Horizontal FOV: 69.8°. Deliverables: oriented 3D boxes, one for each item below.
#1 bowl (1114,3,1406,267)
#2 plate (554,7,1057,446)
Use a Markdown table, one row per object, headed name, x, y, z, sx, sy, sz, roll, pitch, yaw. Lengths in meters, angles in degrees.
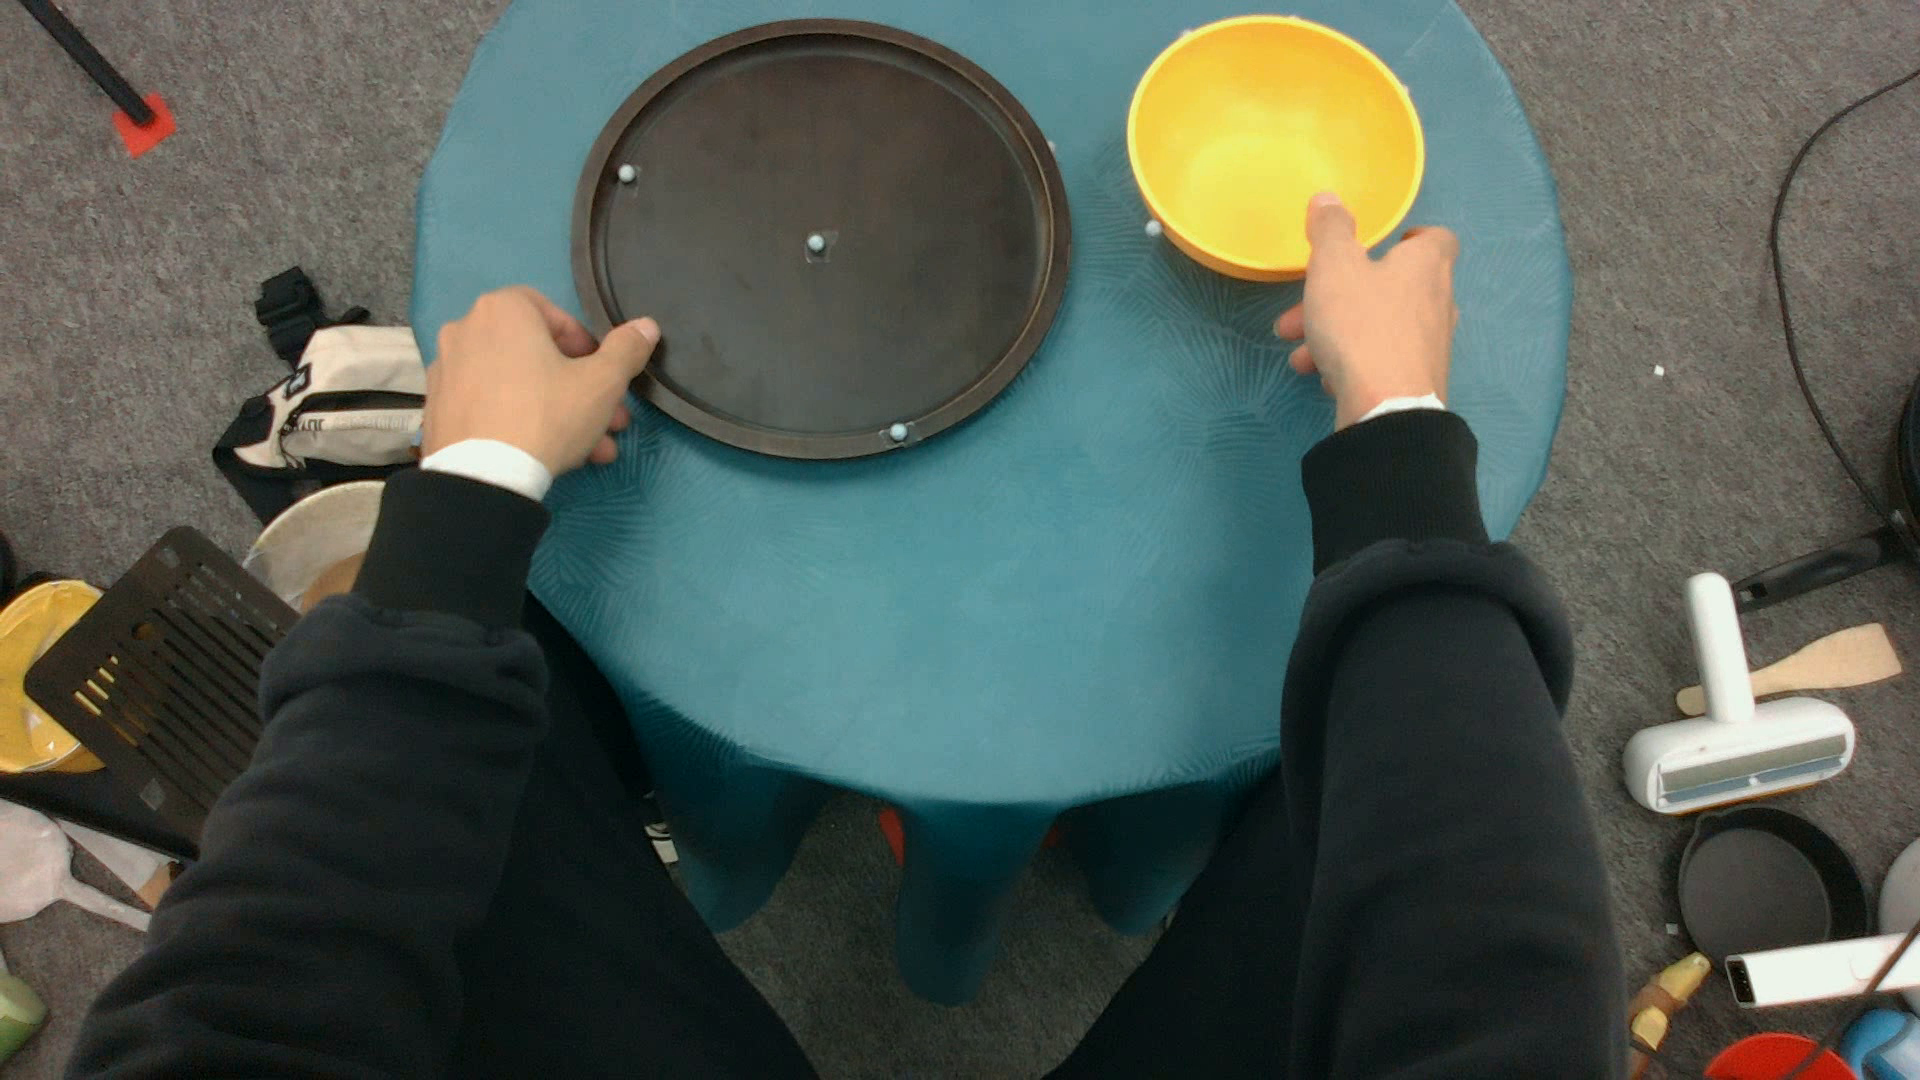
| name | x | y | z | sx | sy | sz | roll | pitch | yaw |
| --- | --- | --- | --- | --- | --- | --- | --- | --- | --- |
| bowl | 0.148 | -0.196 | 0.706 | 0.145 | 0.060 | 0.145 | 0 | 74 | -1 |
| plate | -0.077 | -0.164 | 0.703 | 0.255 | 0.029 | 0.255 | 1 | 72 | -4 |
